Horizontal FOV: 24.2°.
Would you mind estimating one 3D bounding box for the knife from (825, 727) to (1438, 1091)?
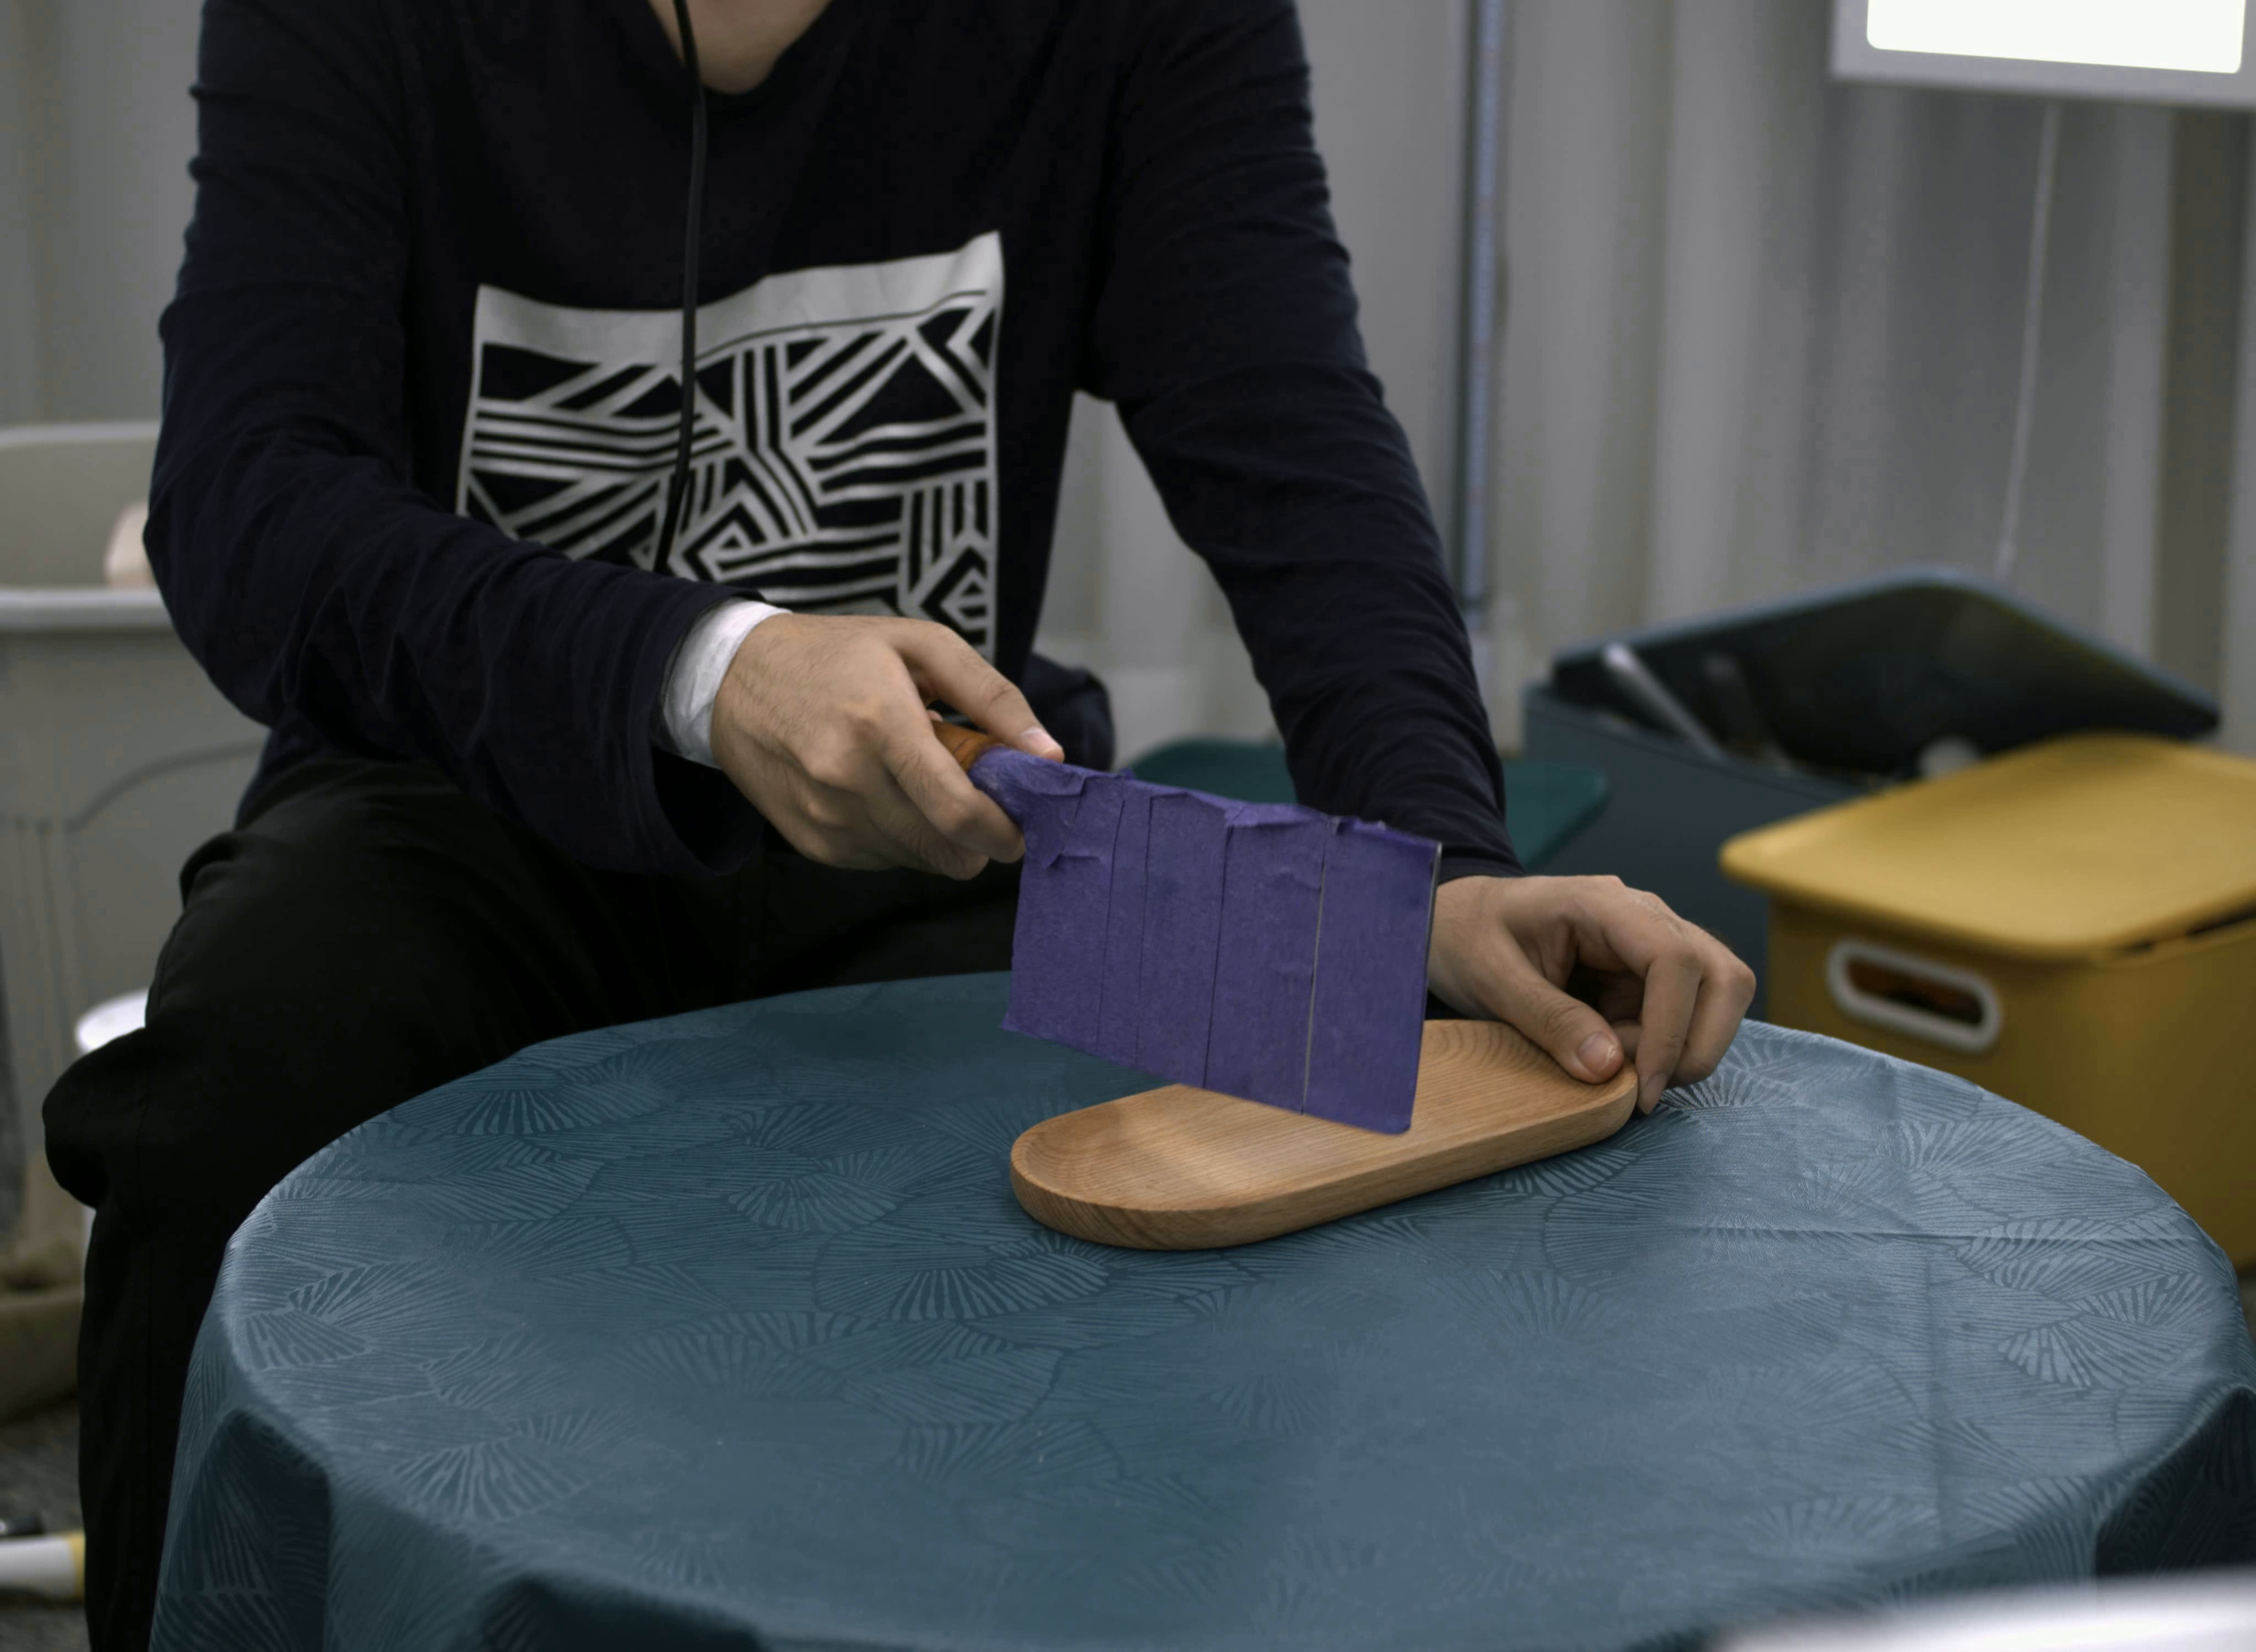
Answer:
[{"bbox_3d":[-0.006,0.025,1.661,0.032,0.104,0.311,4,3,-35],"label":"knife"}]

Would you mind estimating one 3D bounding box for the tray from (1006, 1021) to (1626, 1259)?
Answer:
[{"bbox_3d":[0.061,0.097,1.653,0.232,0.020,0.100,-16,21,-40],"label":"tray"}]
